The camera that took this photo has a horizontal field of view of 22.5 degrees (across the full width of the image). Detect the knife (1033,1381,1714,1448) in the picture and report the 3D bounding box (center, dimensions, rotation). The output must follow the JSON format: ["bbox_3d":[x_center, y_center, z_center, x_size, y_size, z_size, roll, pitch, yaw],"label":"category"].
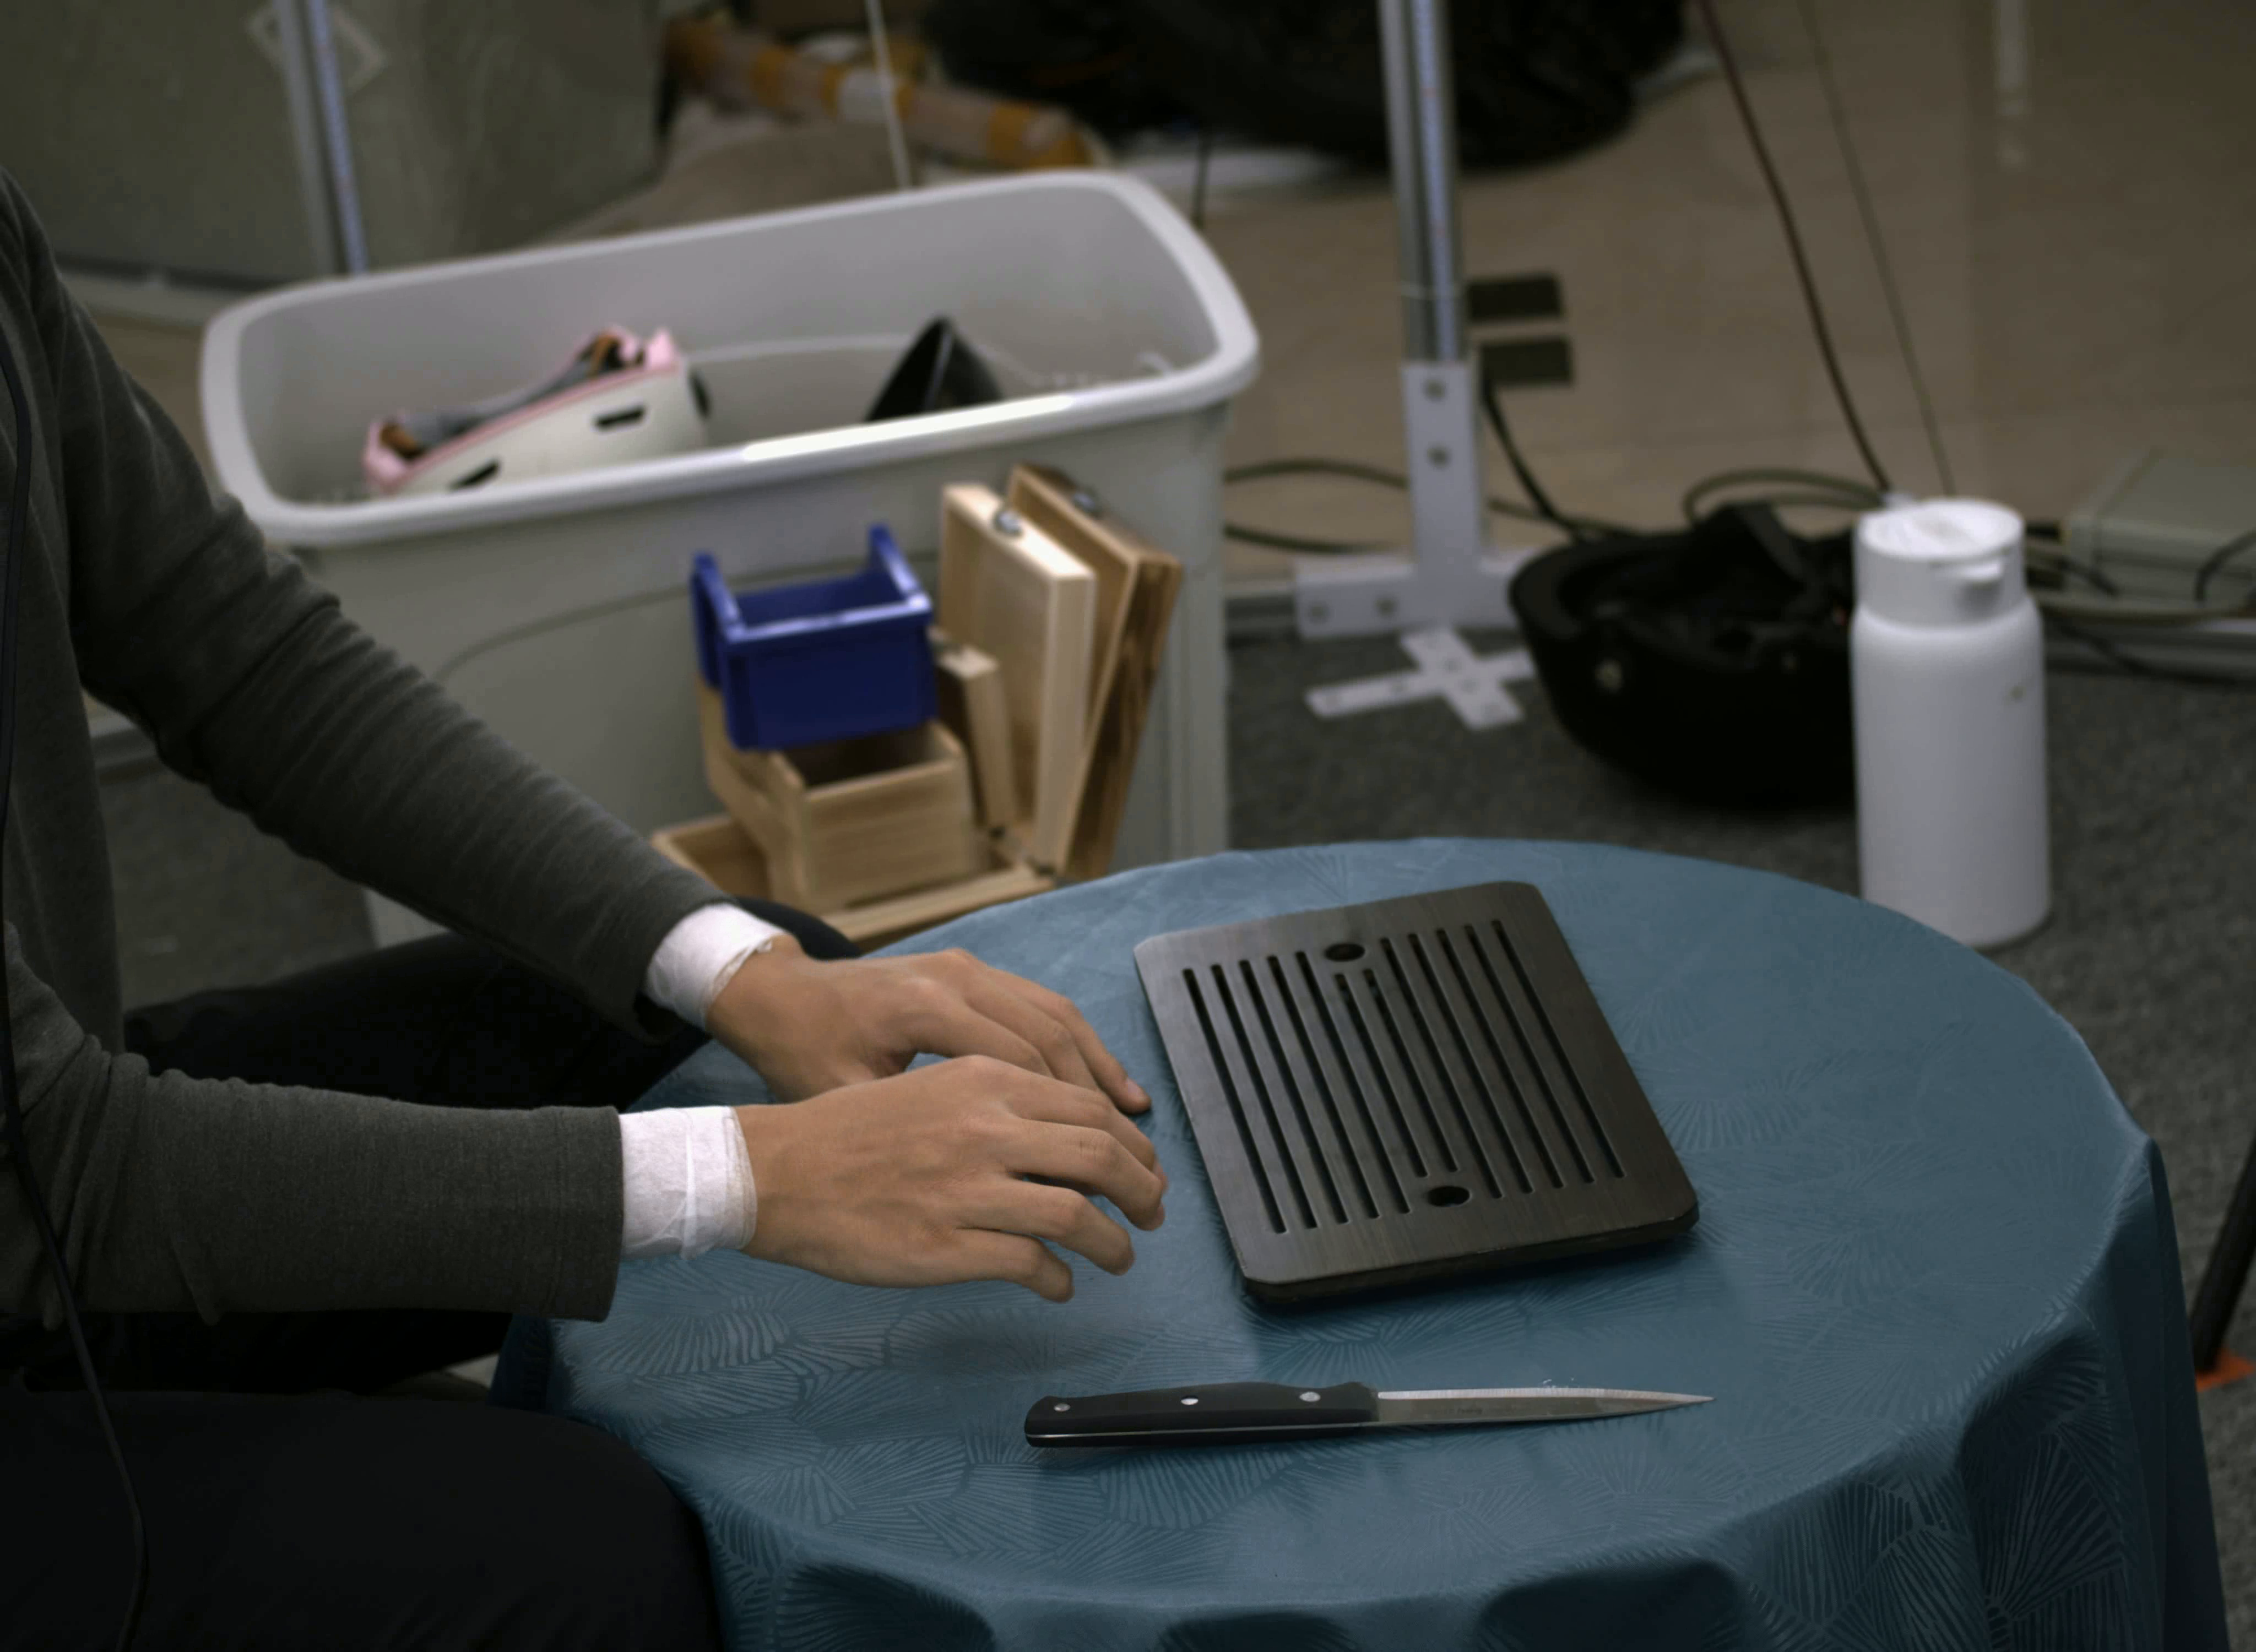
[{"bbox_3d":[0.085,0.203,1.978,0.238,0.016,0.024,-3,26,2],"label":"knife"}]

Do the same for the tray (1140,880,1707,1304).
[{"bbox_3d":[0.108,0.100,2.187,0.170,0.019,0.301,-9,25,-5],"label":"tray"}]
